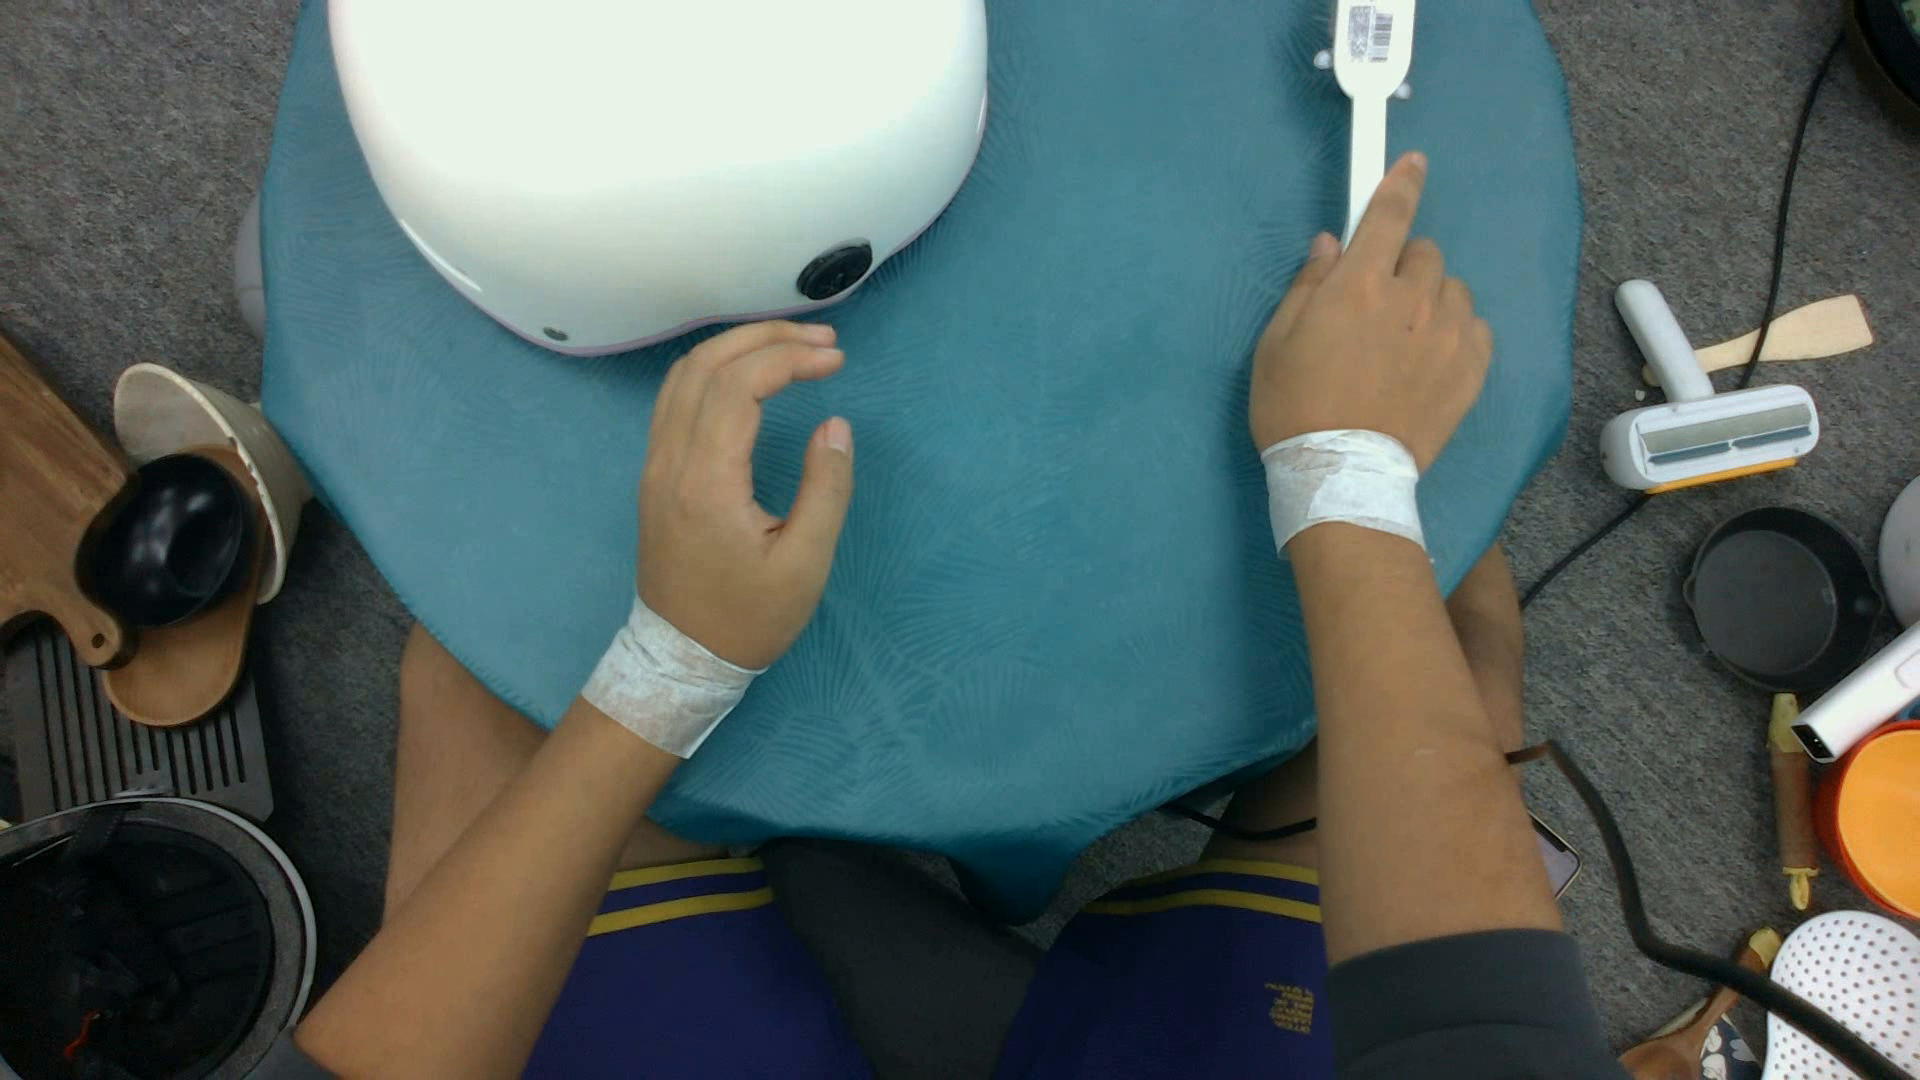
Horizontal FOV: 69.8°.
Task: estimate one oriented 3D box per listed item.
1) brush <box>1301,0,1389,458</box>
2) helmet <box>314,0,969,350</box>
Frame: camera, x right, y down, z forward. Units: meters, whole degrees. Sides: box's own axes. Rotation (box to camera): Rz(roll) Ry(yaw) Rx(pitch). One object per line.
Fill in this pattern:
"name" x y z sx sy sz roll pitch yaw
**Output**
"brush" 0.173 -0.159 0.624 0.034 0.050 0.243 0 94 5
"helmet" -0.125 -0.215 0.553 0.269 0.166 0.237 -22 81 -7
